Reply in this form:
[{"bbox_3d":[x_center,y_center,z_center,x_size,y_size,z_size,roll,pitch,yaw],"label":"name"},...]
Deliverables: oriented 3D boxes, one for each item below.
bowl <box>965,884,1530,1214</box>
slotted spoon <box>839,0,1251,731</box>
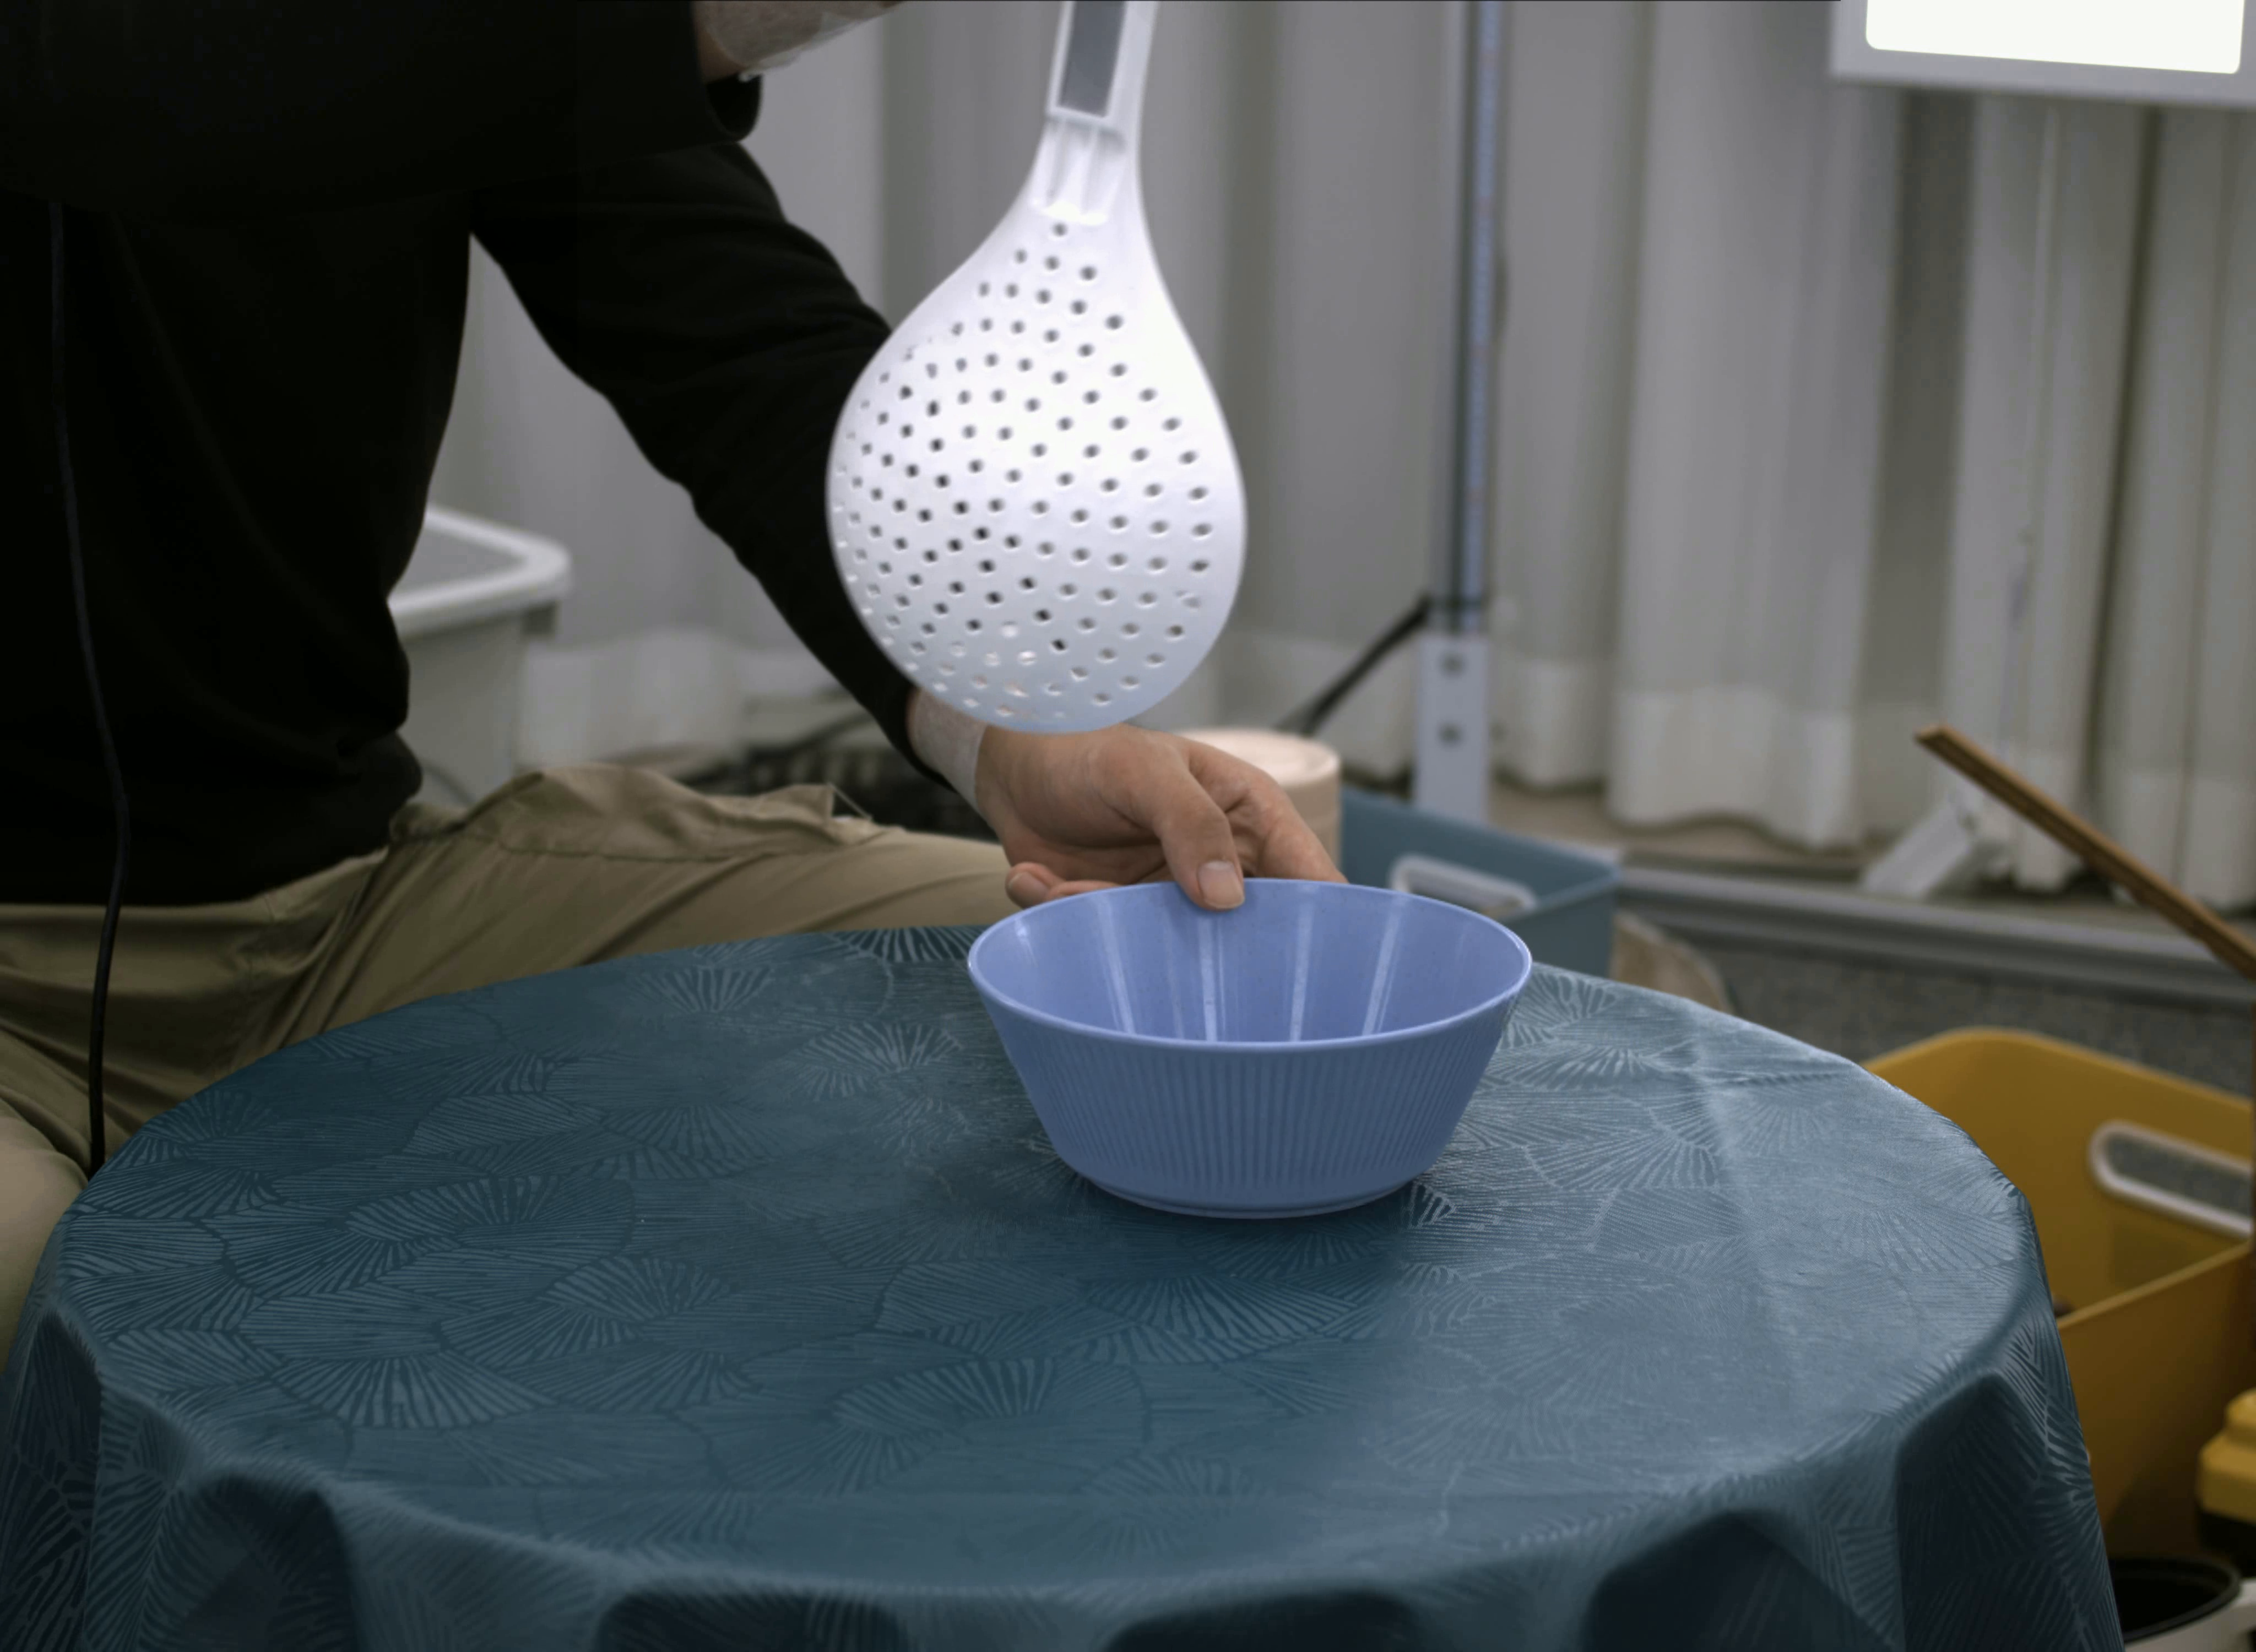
[{"bbox_3d":[0.037,0.071,1.639,0.175,0.071,0.175,0,15,1],"label":"bowl"},{"bbox_3d":[-0.012,-0.195,1.534,0.135,0.352,0.046,16,15,19],"label":"slotted spoon"}]
